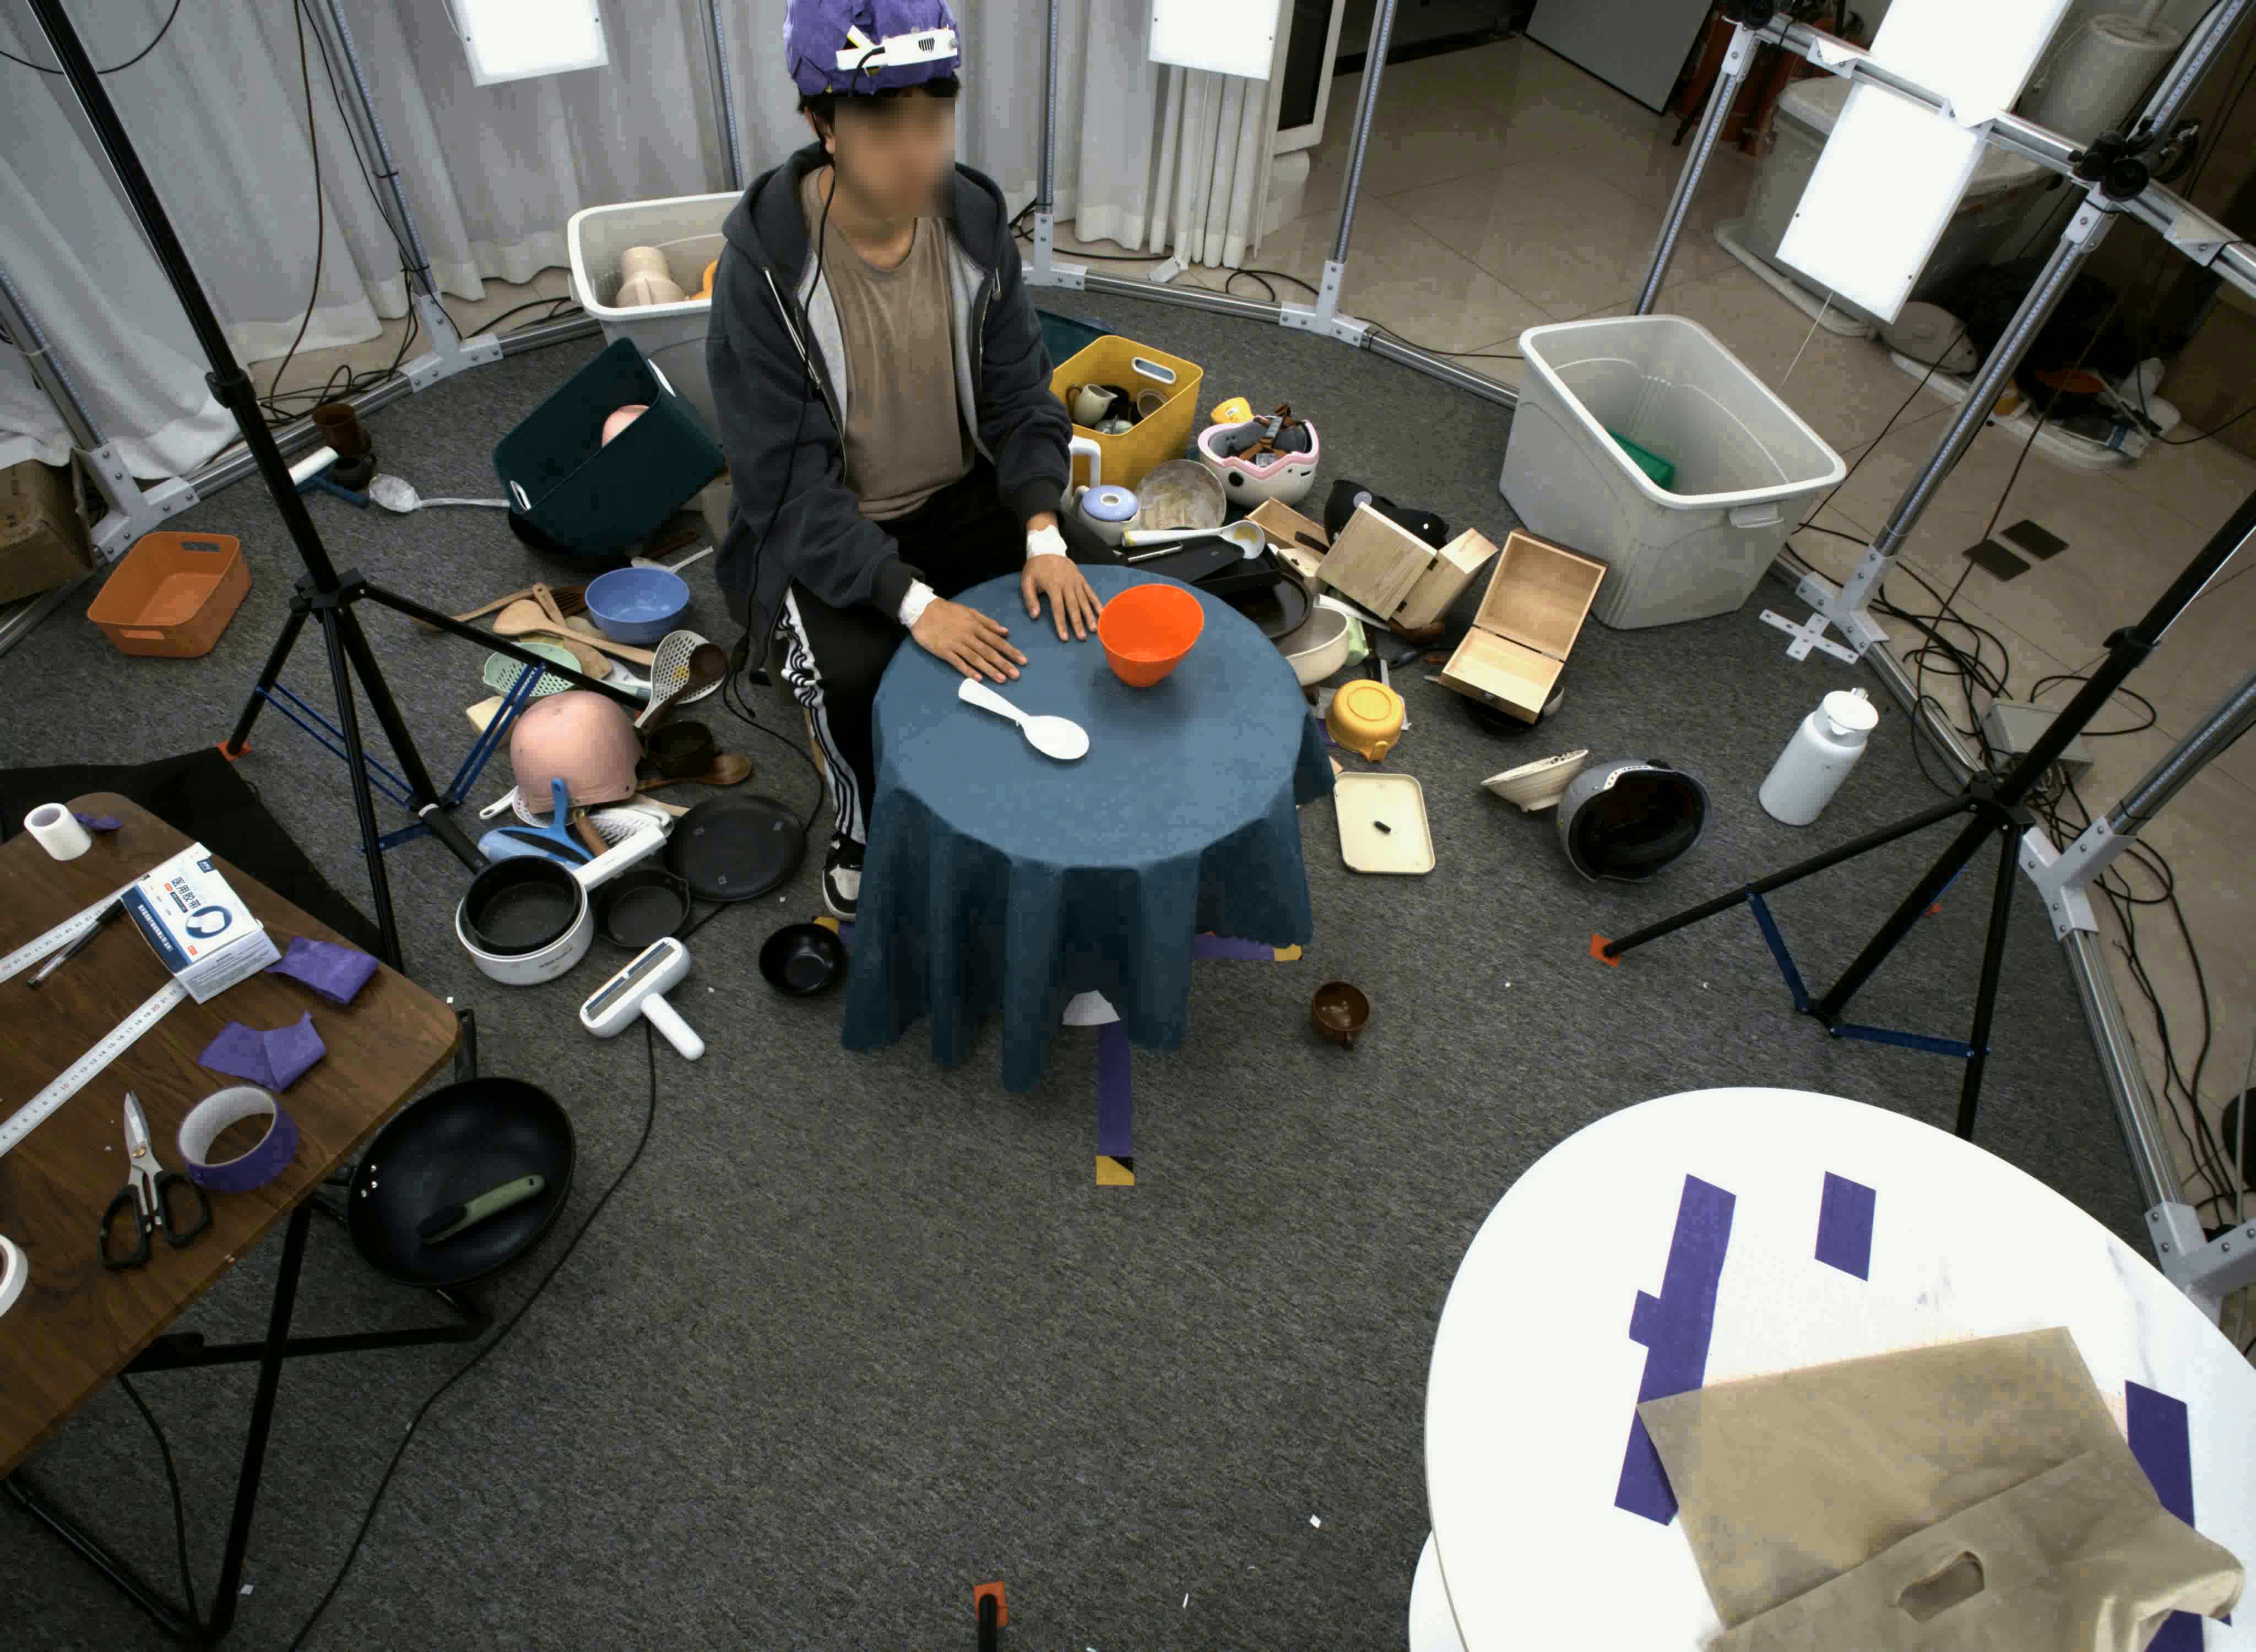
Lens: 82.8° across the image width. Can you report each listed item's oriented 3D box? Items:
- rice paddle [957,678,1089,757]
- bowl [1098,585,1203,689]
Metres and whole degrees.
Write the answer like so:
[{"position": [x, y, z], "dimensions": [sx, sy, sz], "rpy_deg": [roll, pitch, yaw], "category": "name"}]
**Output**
[{"position": [-0.144, -0.150, 1.767], "dimensions": [0.207, 0.029, 0.070], "rpy_deg": [28, 54, 19], "category": "rice paddle"}, {"position": [0.030, -0.259, 1.828], "dimensions": [0.148, 0.102, 0.152], "rpy_deg": [1, 50, -2], "category": "bowl"}]
